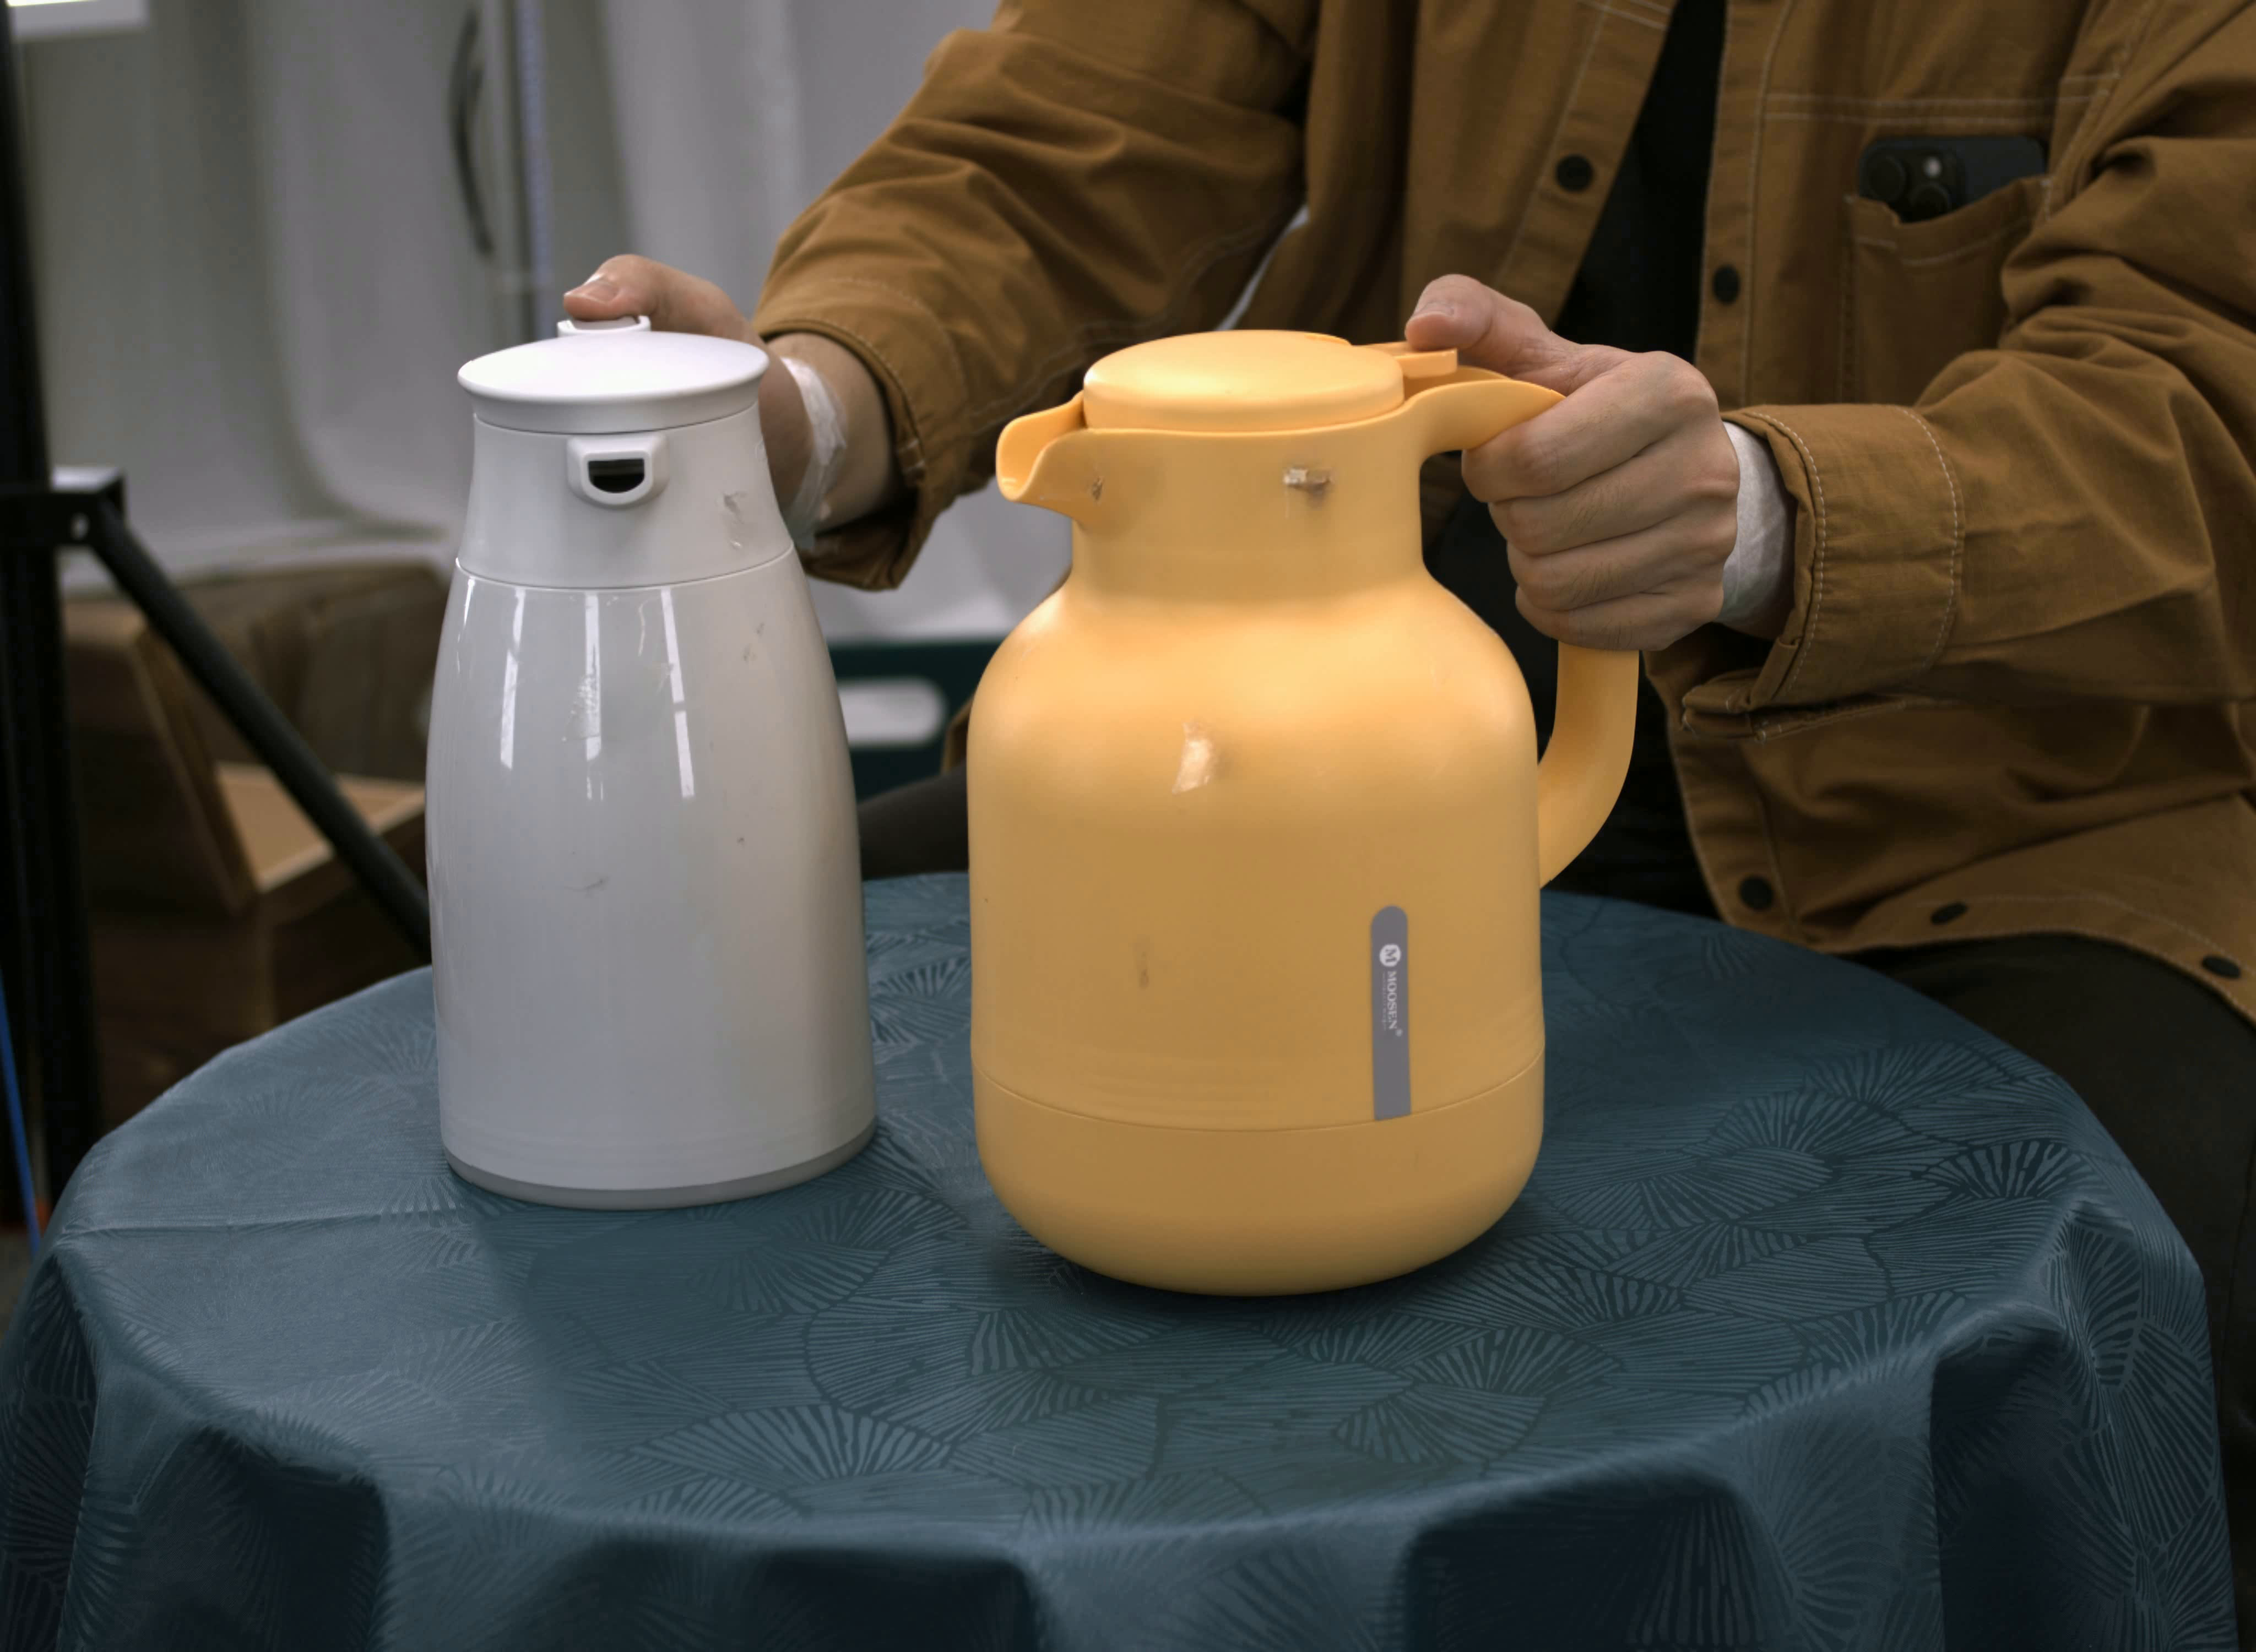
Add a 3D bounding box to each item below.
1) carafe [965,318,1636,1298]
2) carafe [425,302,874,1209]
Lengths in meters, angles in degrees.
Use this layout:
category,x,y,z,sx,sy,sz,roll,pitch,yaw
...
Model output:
category,x,y,z,sx,sy,sz,roll,pitch,yaw
carafe,0.053,-0.011,1.490,0.198,0.260,0.167,-10,19,-23
carafe,-0.150,-0.030,1.610,0.131,0.248,0.169,-4,15,-4
